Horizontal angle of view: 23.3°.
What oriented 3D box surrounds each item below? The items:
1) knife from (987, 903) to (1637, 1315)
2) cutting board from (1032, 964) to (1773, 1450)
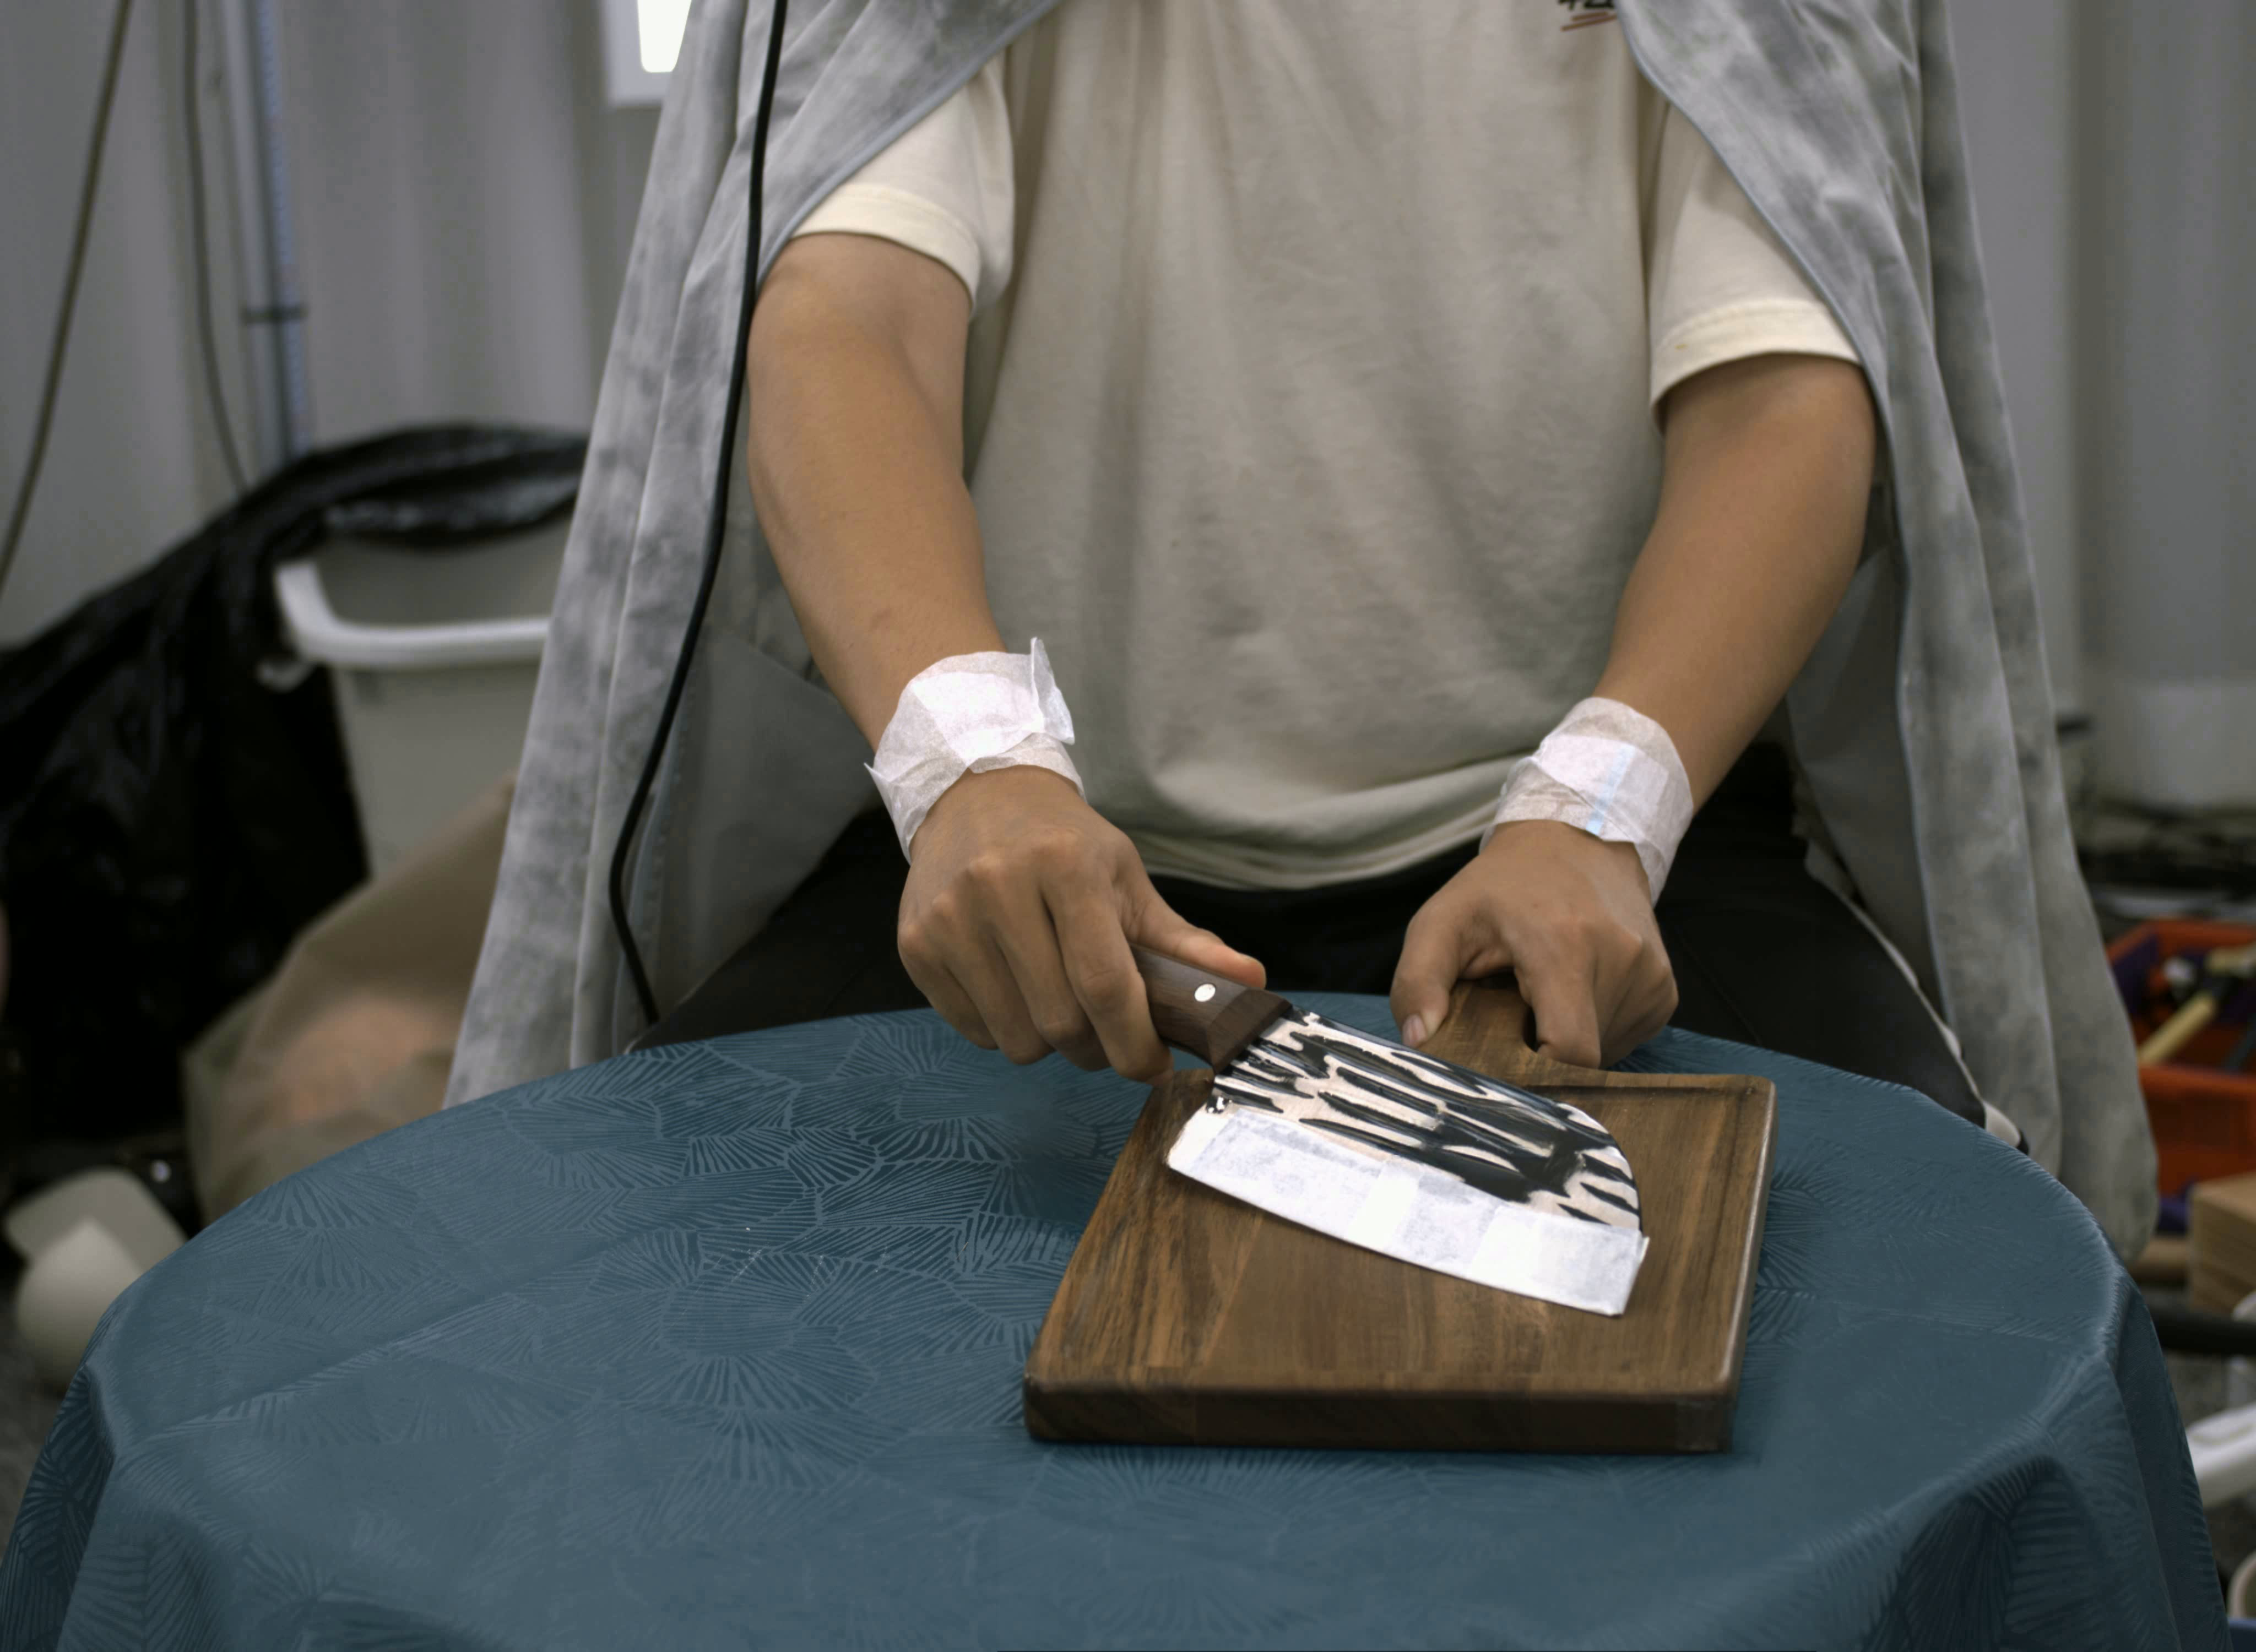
[{"bbox_3d":[0.047,0.084,1.647,0.302,0.023,0.068,20,61,44],"label":"knife"},{"bbox_3d":[0.094,0.108,1.654,0.201,0.023,0.354,0,17,10],"label":"cutting board"}]
